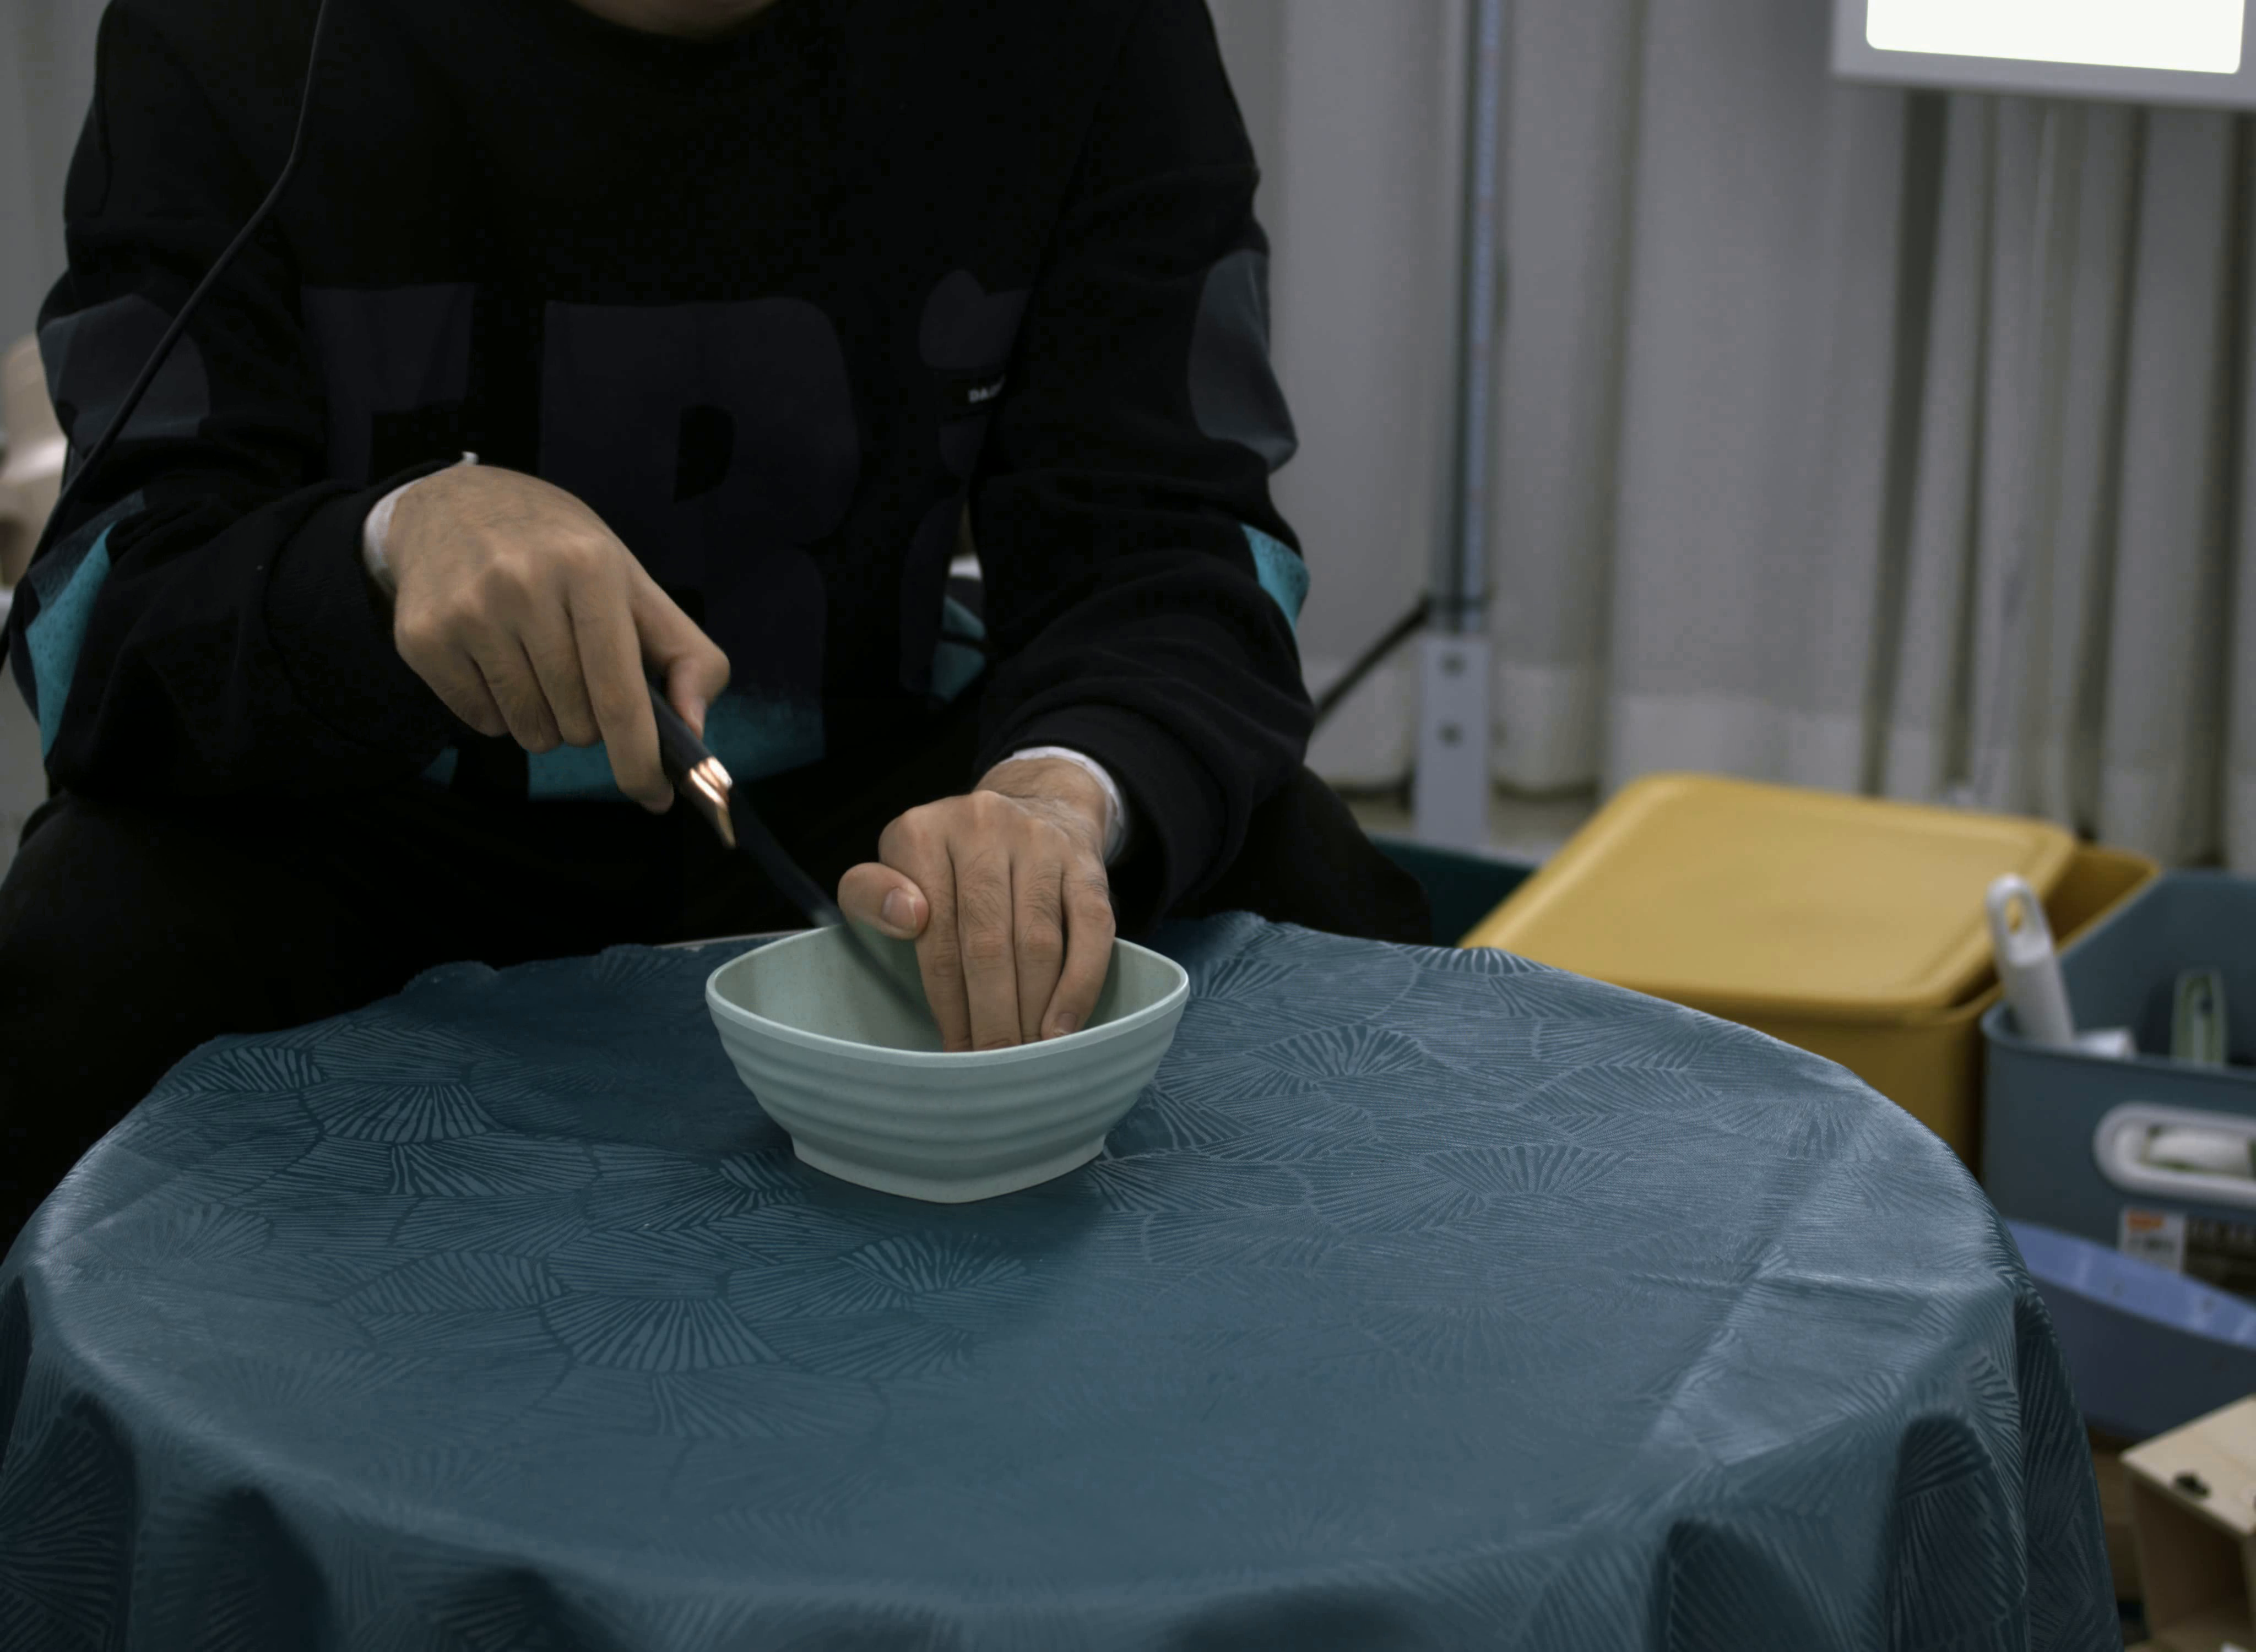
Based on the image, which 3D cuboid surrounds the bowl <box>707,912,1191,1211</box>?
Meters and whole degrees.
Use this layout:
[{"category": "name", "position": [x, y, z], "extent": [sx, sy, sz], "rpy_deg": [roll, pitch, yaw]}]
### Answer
[{"category": "bowl", "position": [-0.055, 0.077, 1.648], "extent": [0.151, 0.059, 0.150], "rpy_deg": [-1, 17, 1]}]

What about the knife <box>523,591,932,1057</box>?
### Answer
[{"category": "knife", "position": [-0.123, 0.003, 1.658], "extent": [0.017, 0.026, 0.223], "rpy_deg": [-31, 63, -24]}]
